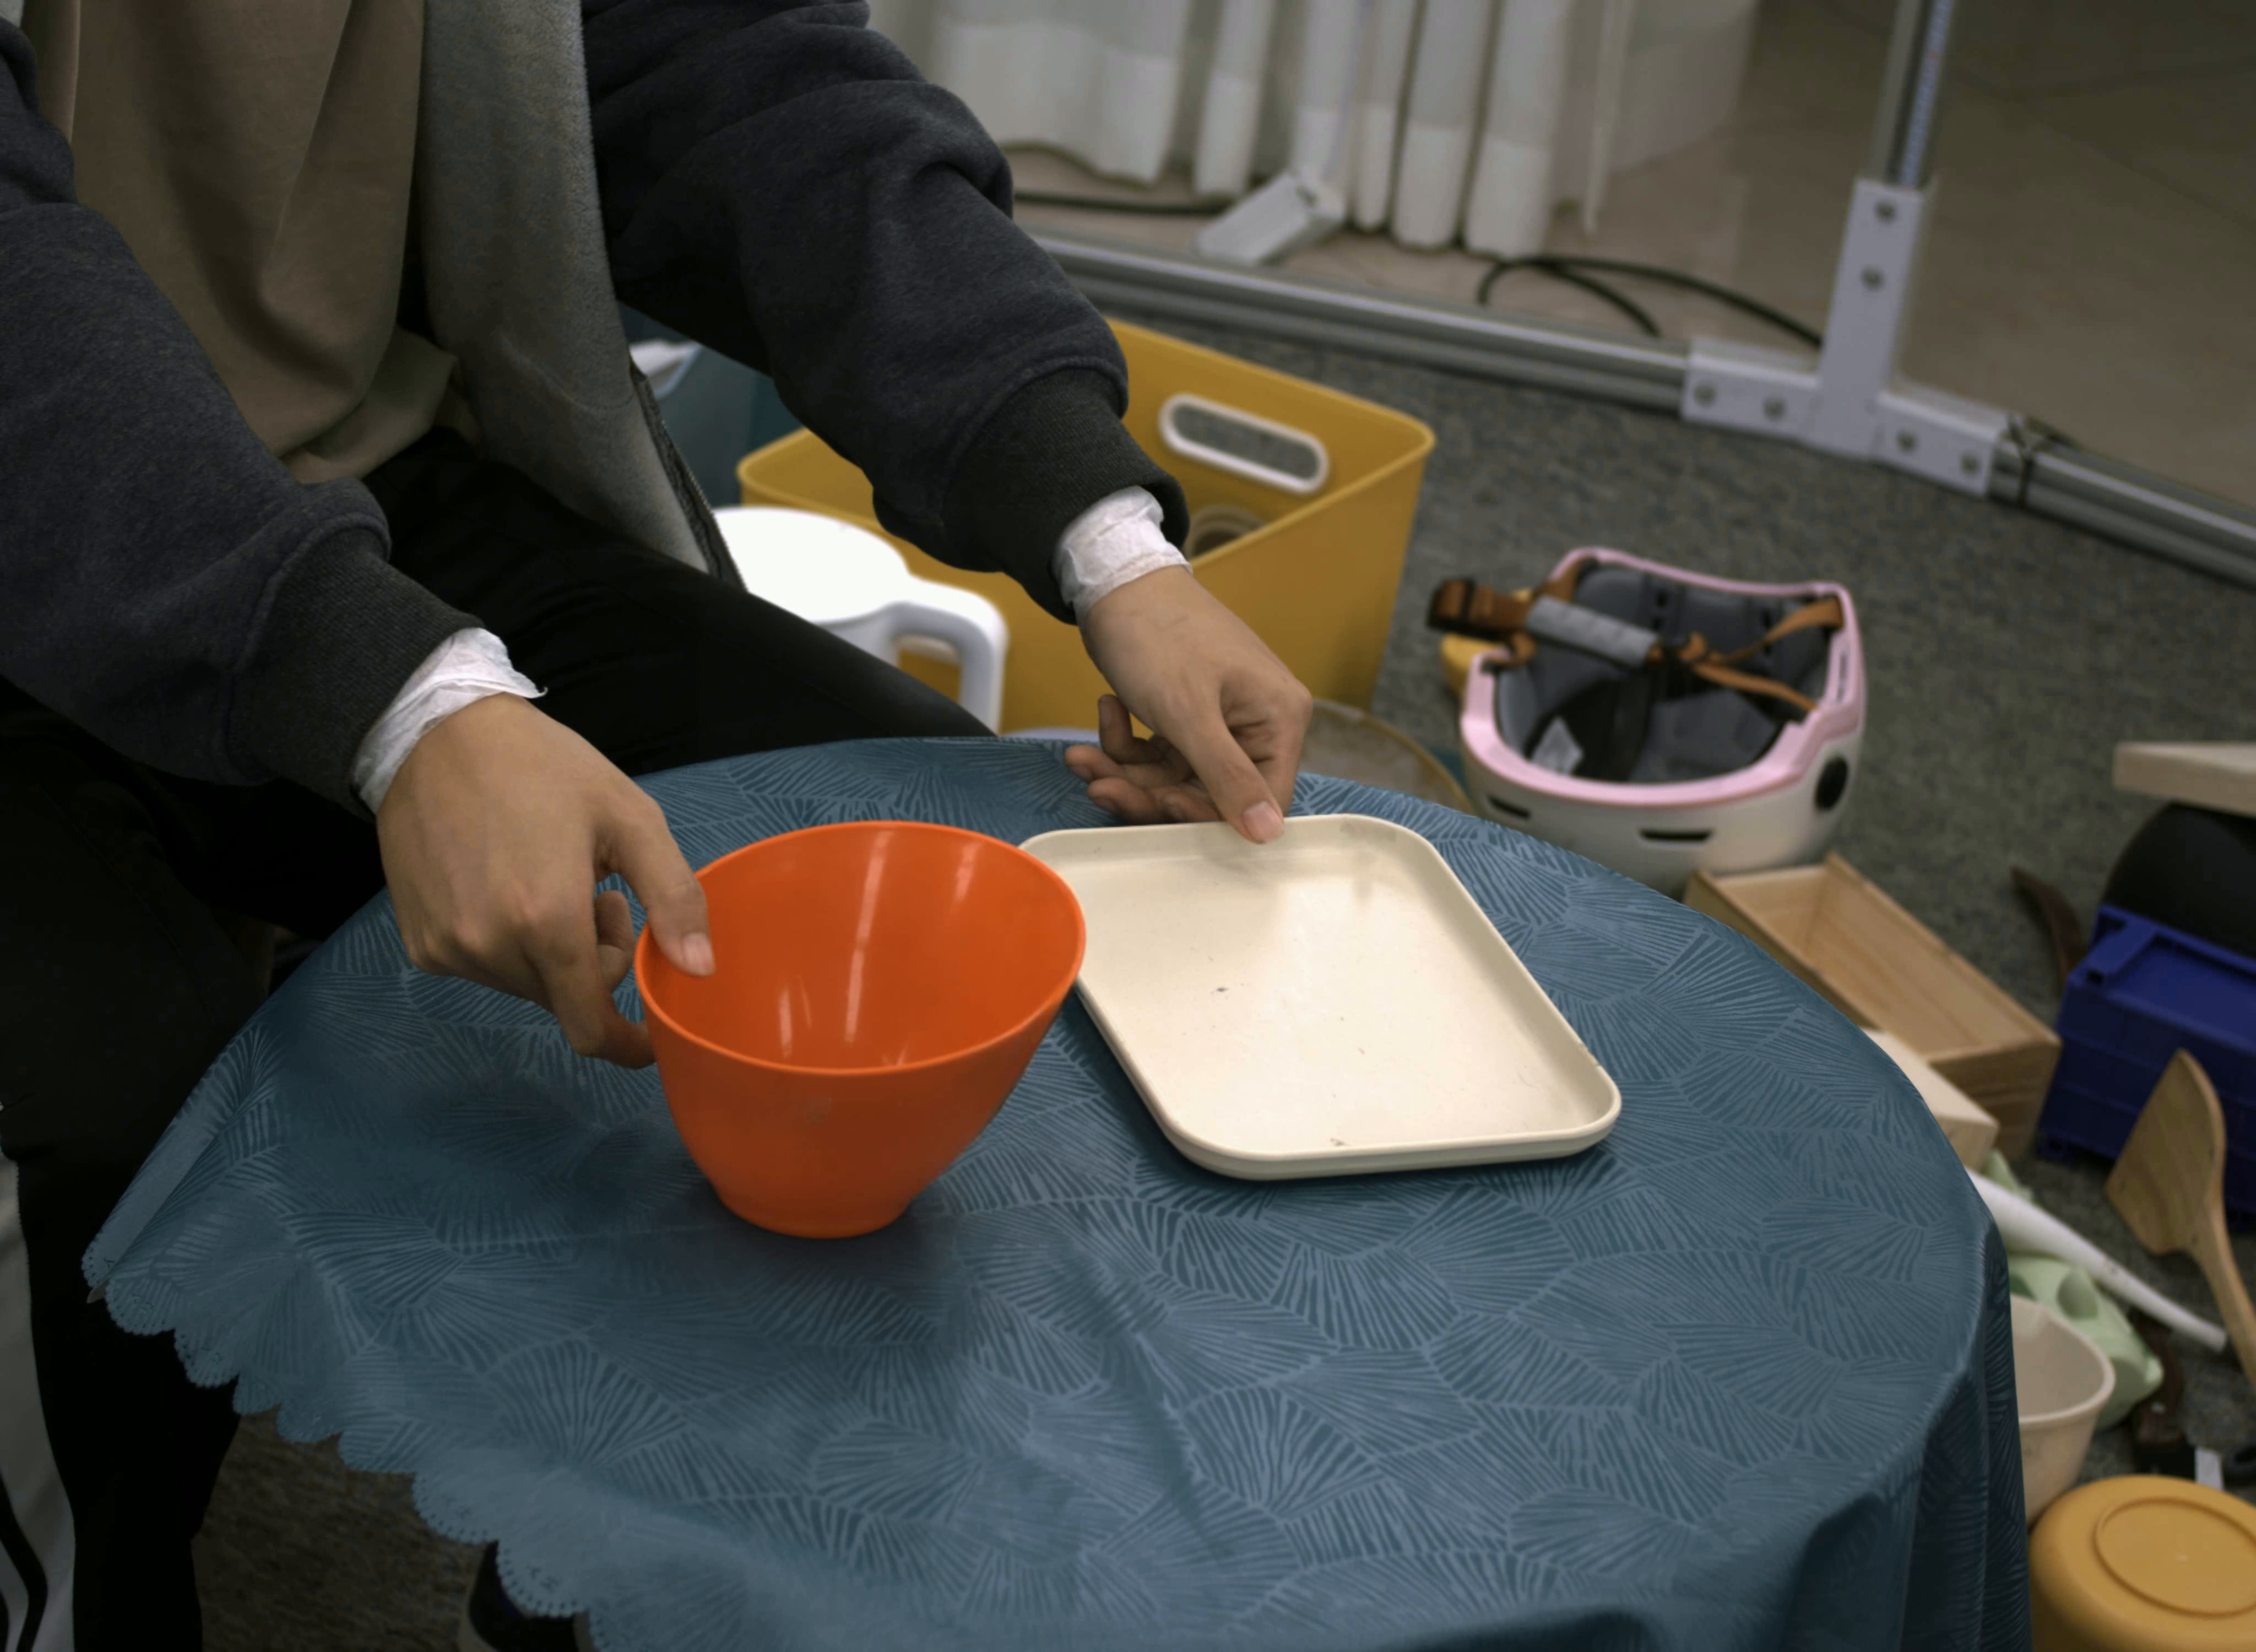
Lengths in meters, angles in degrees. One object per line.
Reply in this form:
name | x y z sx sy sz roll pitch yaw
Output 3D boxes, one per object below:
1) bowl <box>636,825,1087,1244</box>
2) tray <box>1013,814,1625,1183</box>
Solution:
bowl | -0.092 0.075 1.765 0.147 0.104 0.149 6 27 -4
tray | 0.064 0.061 1.920 0.170 0.017 0.242 -4 29 -18
